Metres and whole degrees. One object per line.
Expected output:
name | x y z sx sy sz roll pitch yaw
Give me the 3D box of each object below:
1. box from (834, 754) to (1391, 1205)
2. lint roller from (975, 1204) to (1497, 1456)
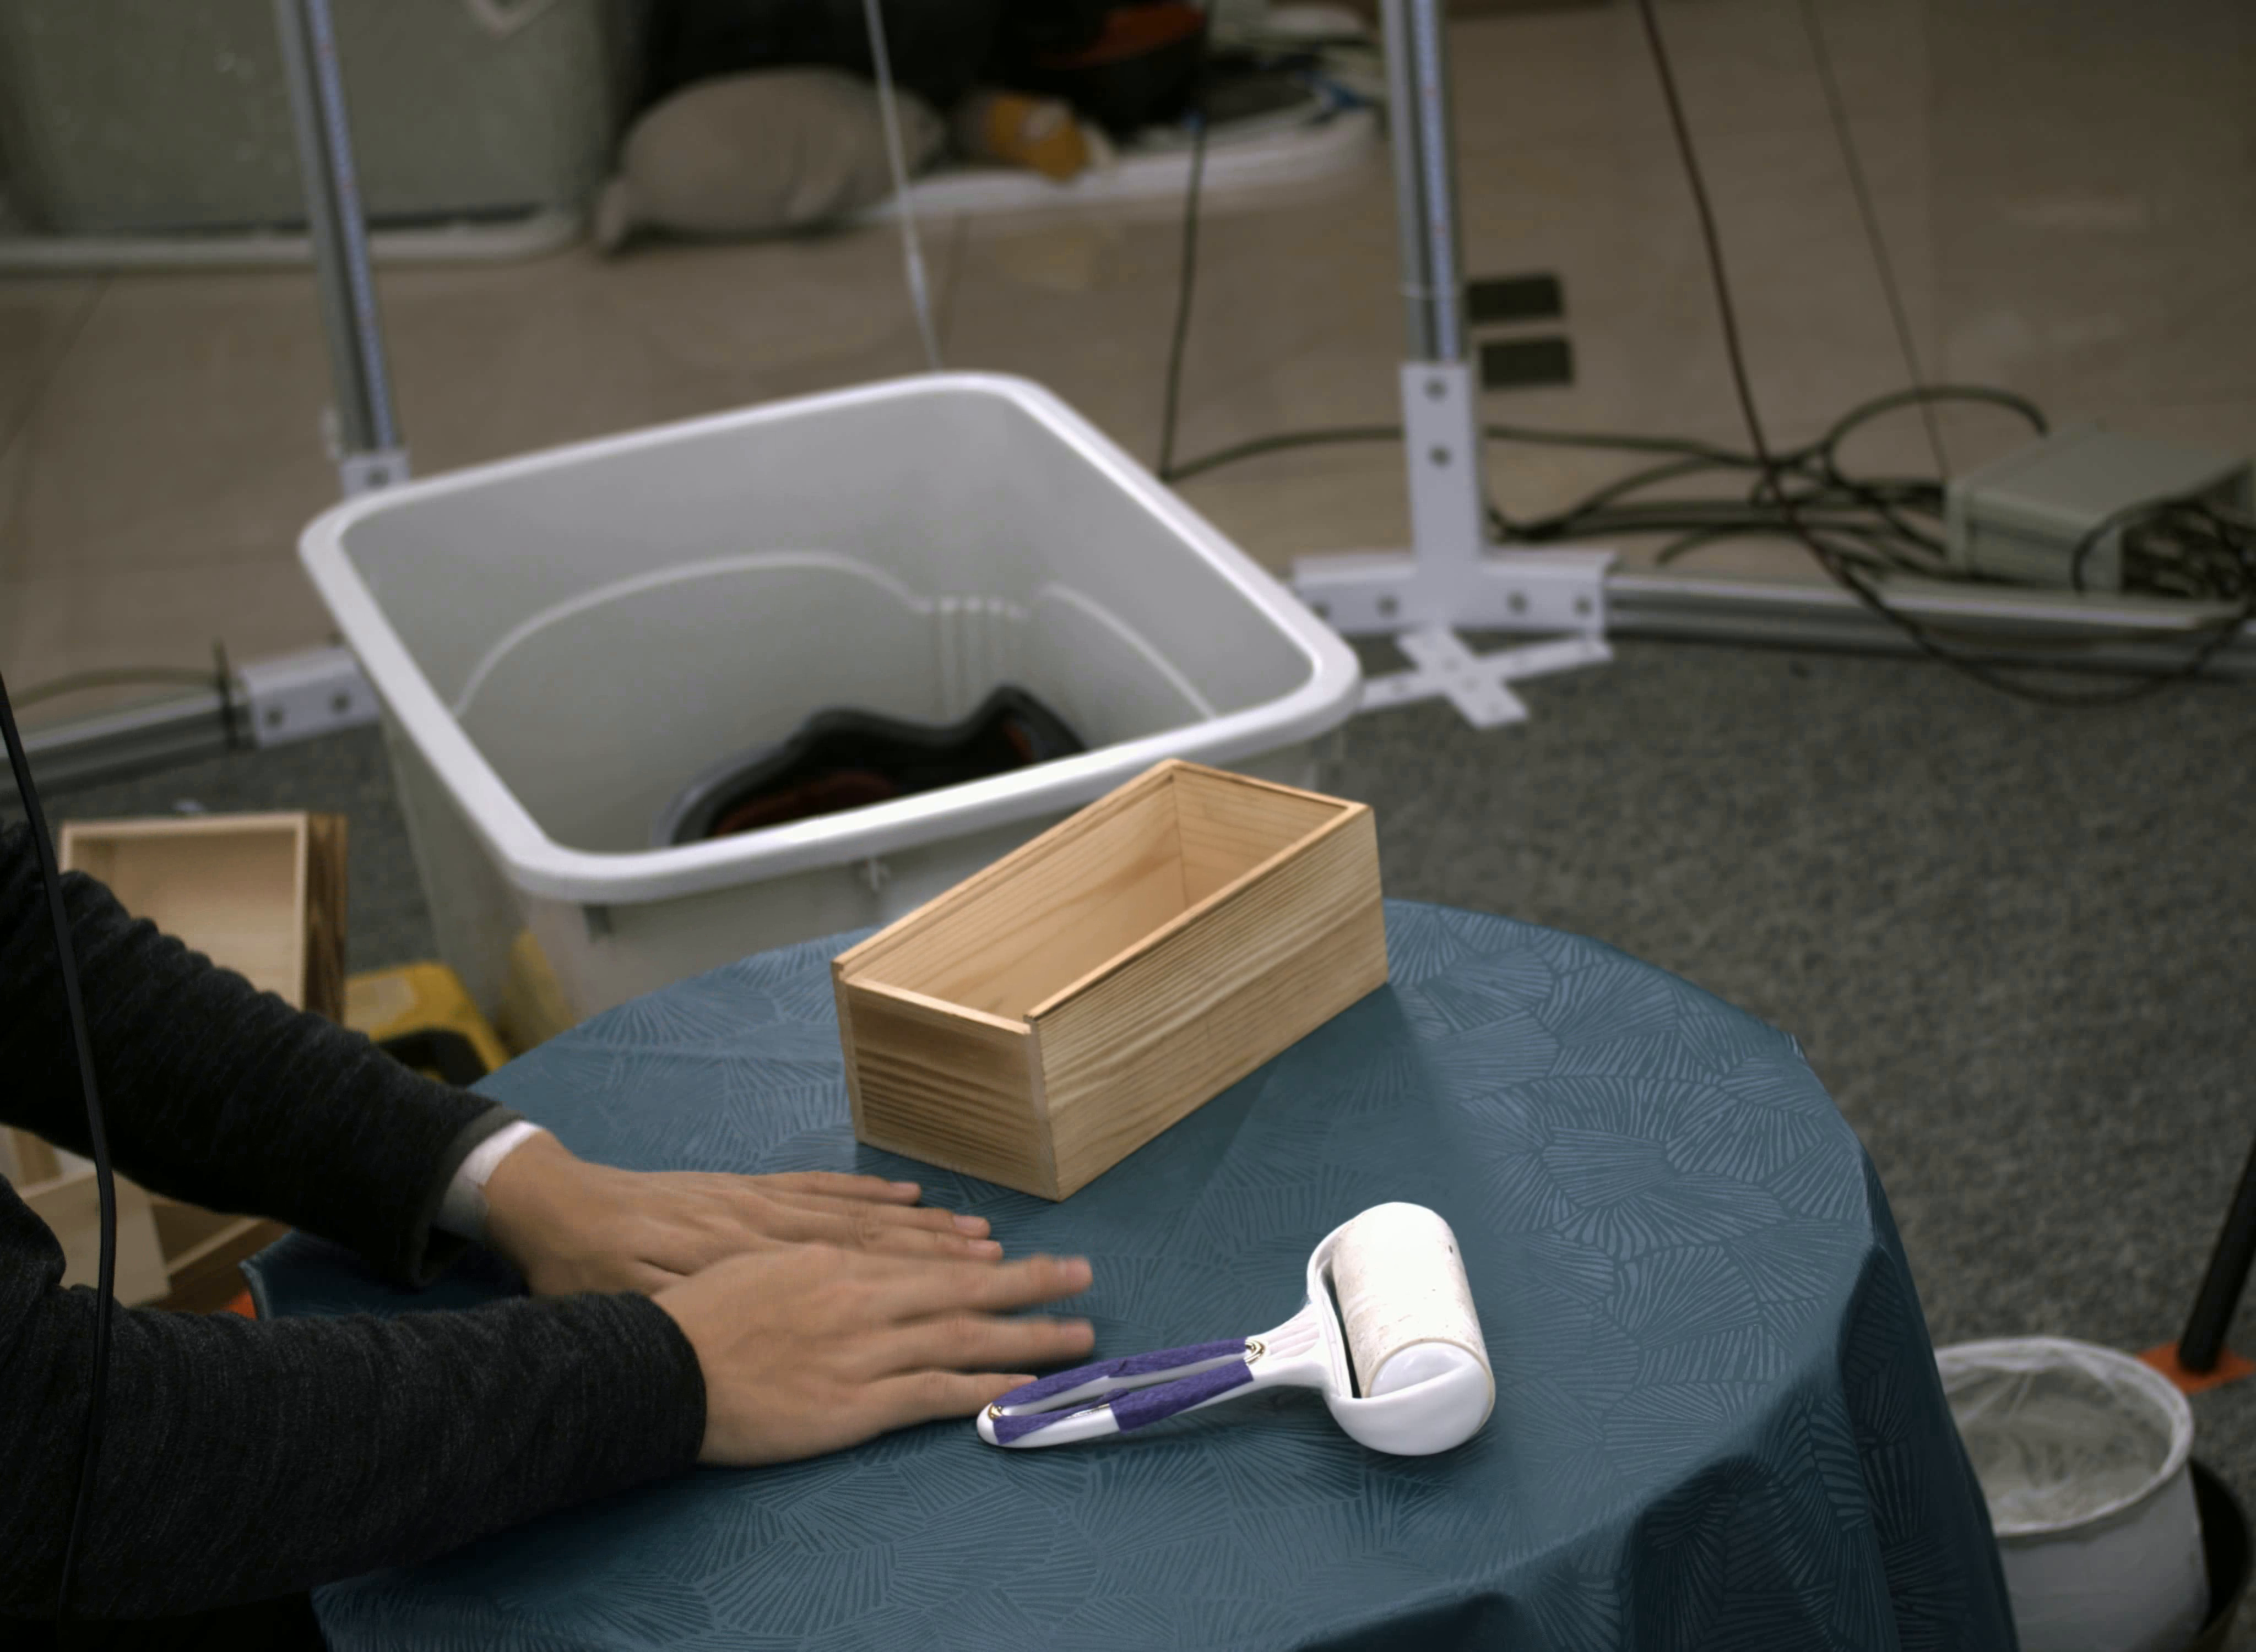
box | -0.003 0.057 2.229 0.107 0.081 0.209 15 33 37
lint roller | 0.035 0.183 1.990 0.180 0.051 0.131 -5 26 -1
